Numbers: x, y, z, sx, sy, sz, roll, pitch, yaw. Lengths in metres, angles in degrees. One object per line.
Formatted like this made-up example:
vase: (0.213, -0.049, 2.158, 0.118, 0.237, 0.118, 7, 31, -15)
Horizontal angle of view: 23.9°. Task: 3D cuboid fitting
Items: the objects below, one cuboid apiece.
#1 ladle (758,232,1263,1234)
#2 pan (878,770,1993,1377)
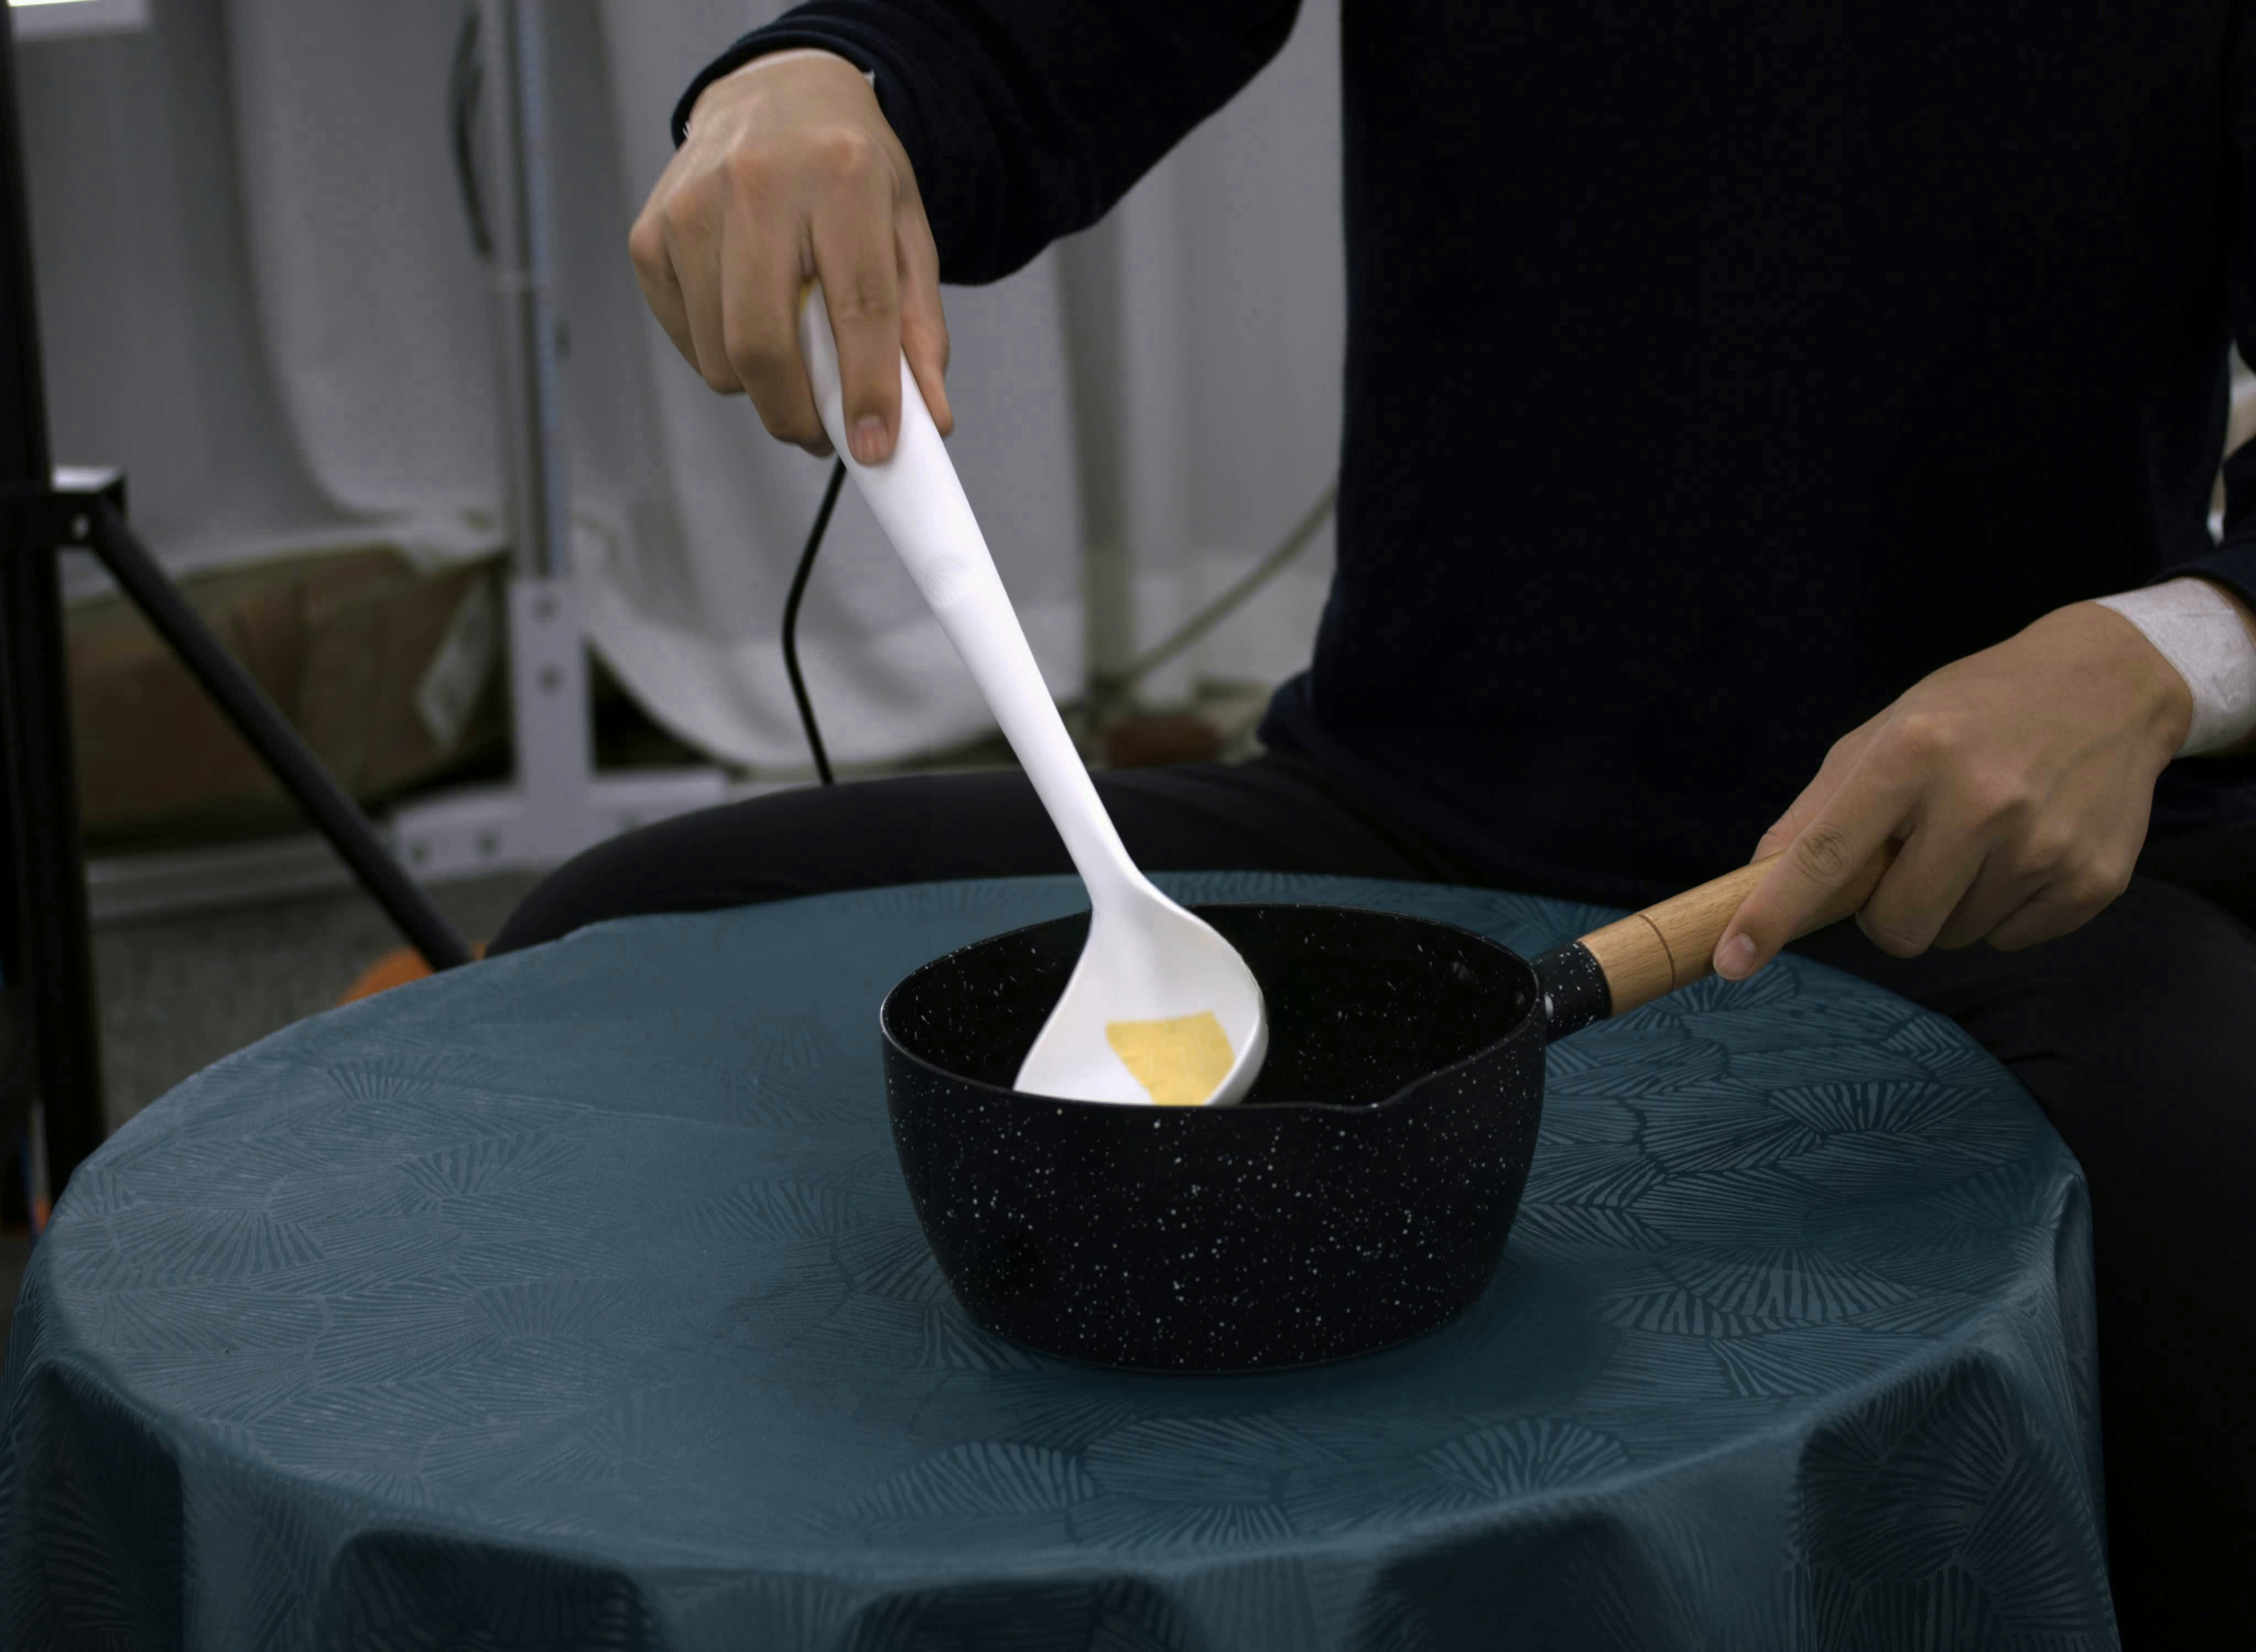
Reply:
ladle: (-0.041, -0.029, 1.457, 0.091, 0.296, 0.068, -32, -16, 31)
pan: (0.096, 0.064, 1.499, 0.336, 0.108, 0.211, -11, 17, -22)
